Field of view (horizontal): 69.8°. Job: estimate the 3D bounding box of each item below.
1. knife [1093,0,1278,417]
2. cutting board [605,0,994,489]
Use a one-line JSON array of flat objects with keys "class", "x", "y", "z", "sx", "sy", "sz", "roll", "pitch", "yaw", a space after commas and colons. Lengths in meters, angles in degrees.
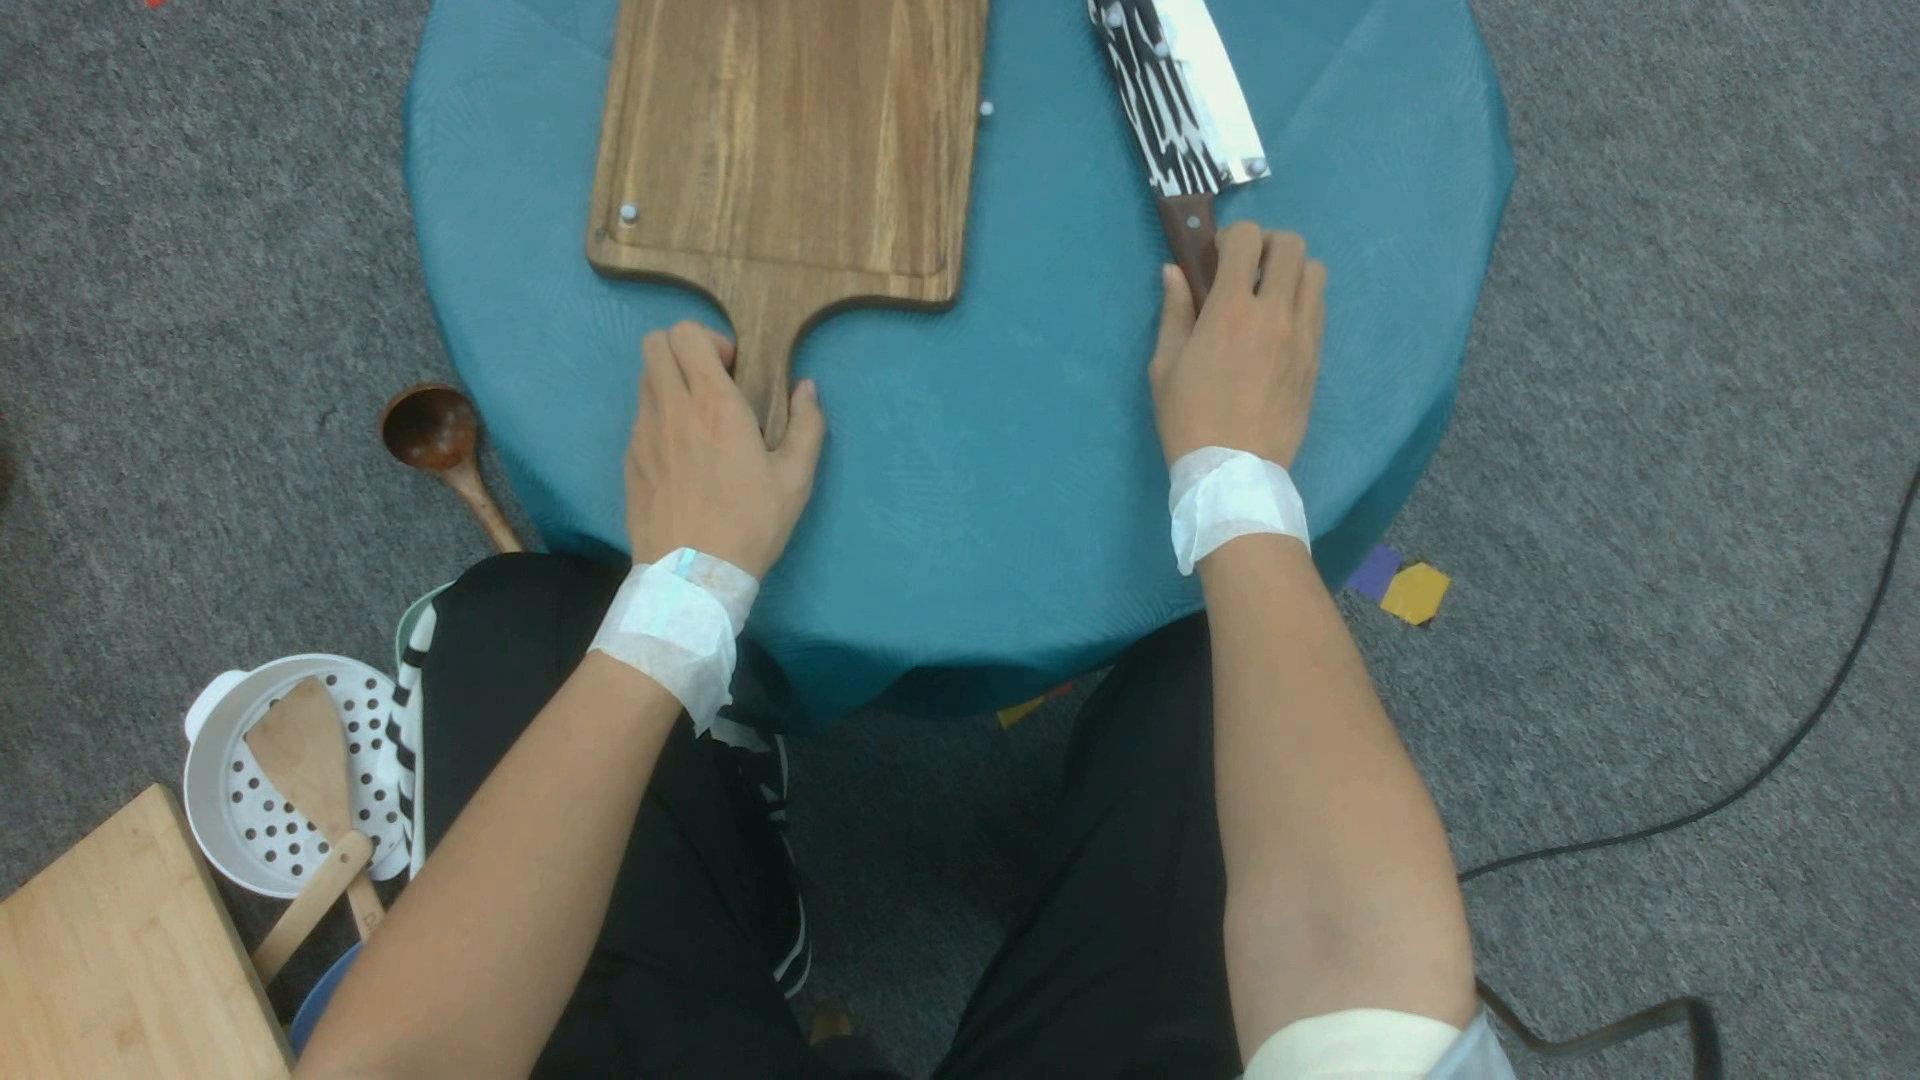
[{"class": "knife", "x": 0.134, "y": -0.212, "z": 0.766, "sx": 0.068, "sy": 0.024, "sz": 0.300, "roll": -15, "pitch": 77, "yaw": -6}, {"class": "cutting board", "x": -0.088, "y": -0.201, "z": 0.756, "sx": 0.201, "sy": 0.023, "sz": 0.353, "roll": 5, "pitch": 79, "yaw": -1}]
